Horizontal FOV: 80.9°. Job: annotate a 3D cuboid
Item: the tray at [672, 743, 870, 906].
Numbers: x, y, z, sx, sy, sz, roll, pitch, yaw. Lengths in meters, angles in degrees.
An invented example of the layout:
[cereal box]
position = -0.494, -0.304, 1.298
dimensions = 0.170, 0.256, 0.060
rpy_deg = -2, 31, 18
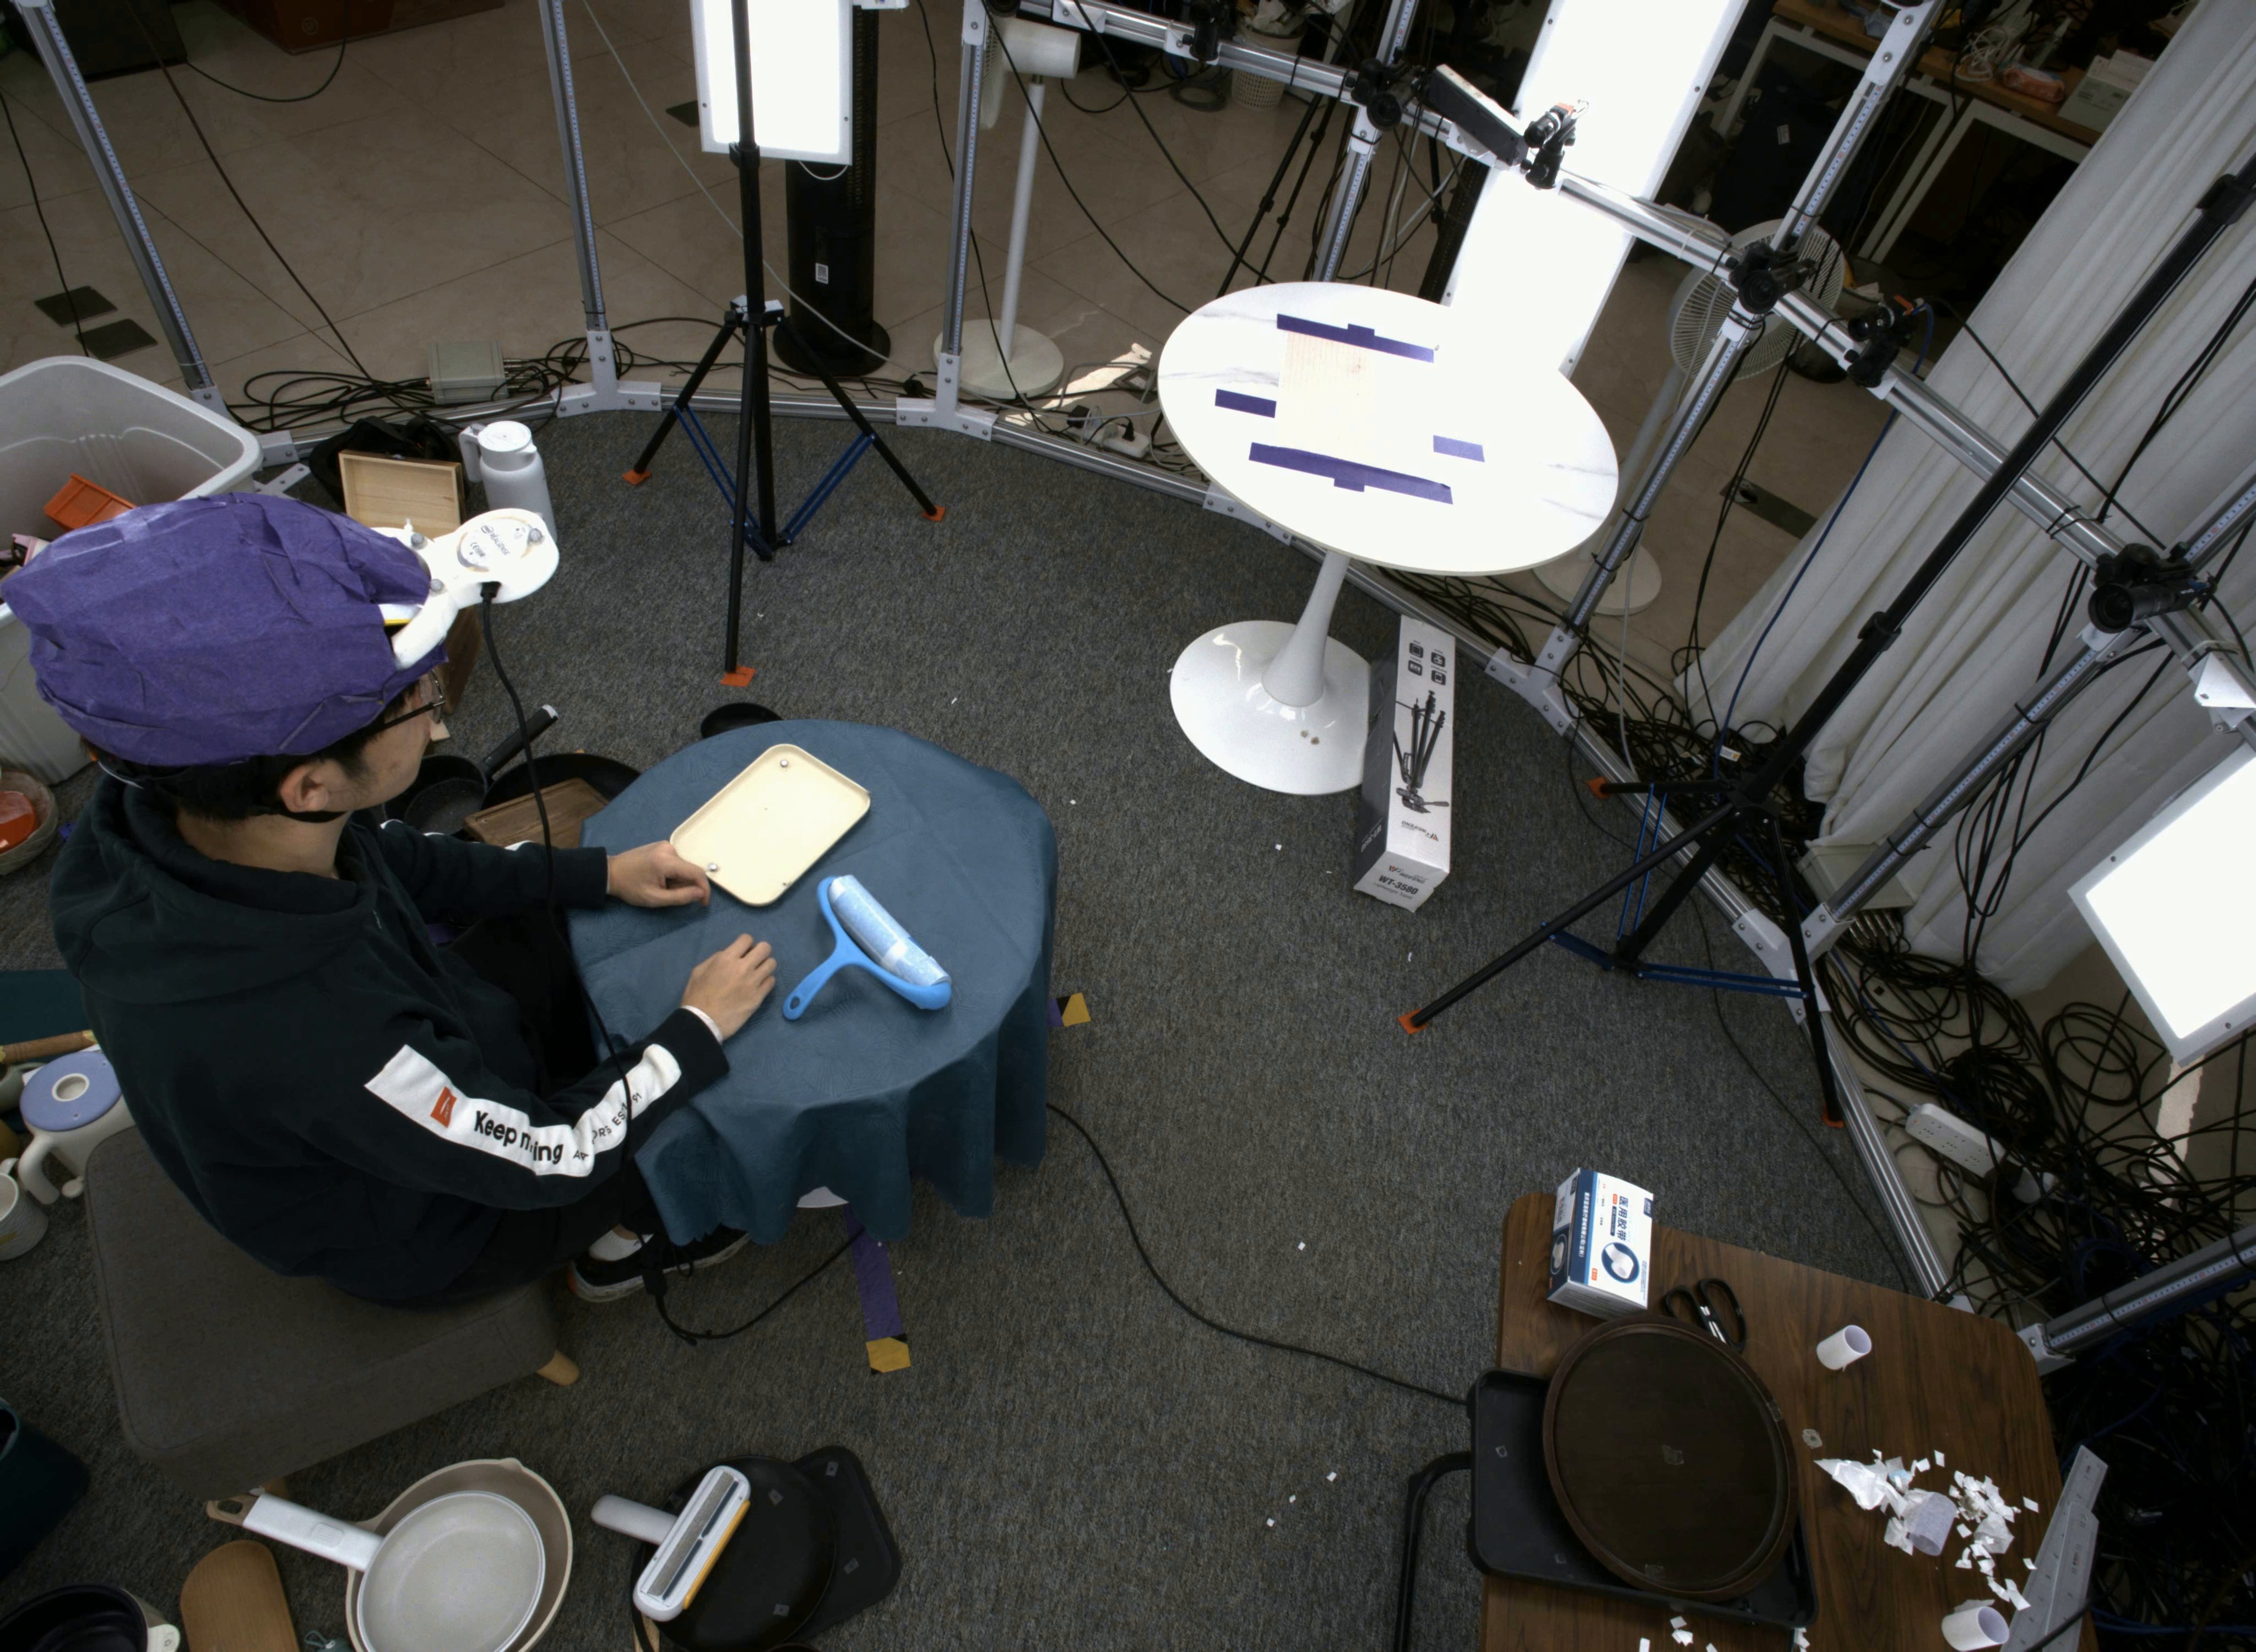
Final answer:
[tray]
position = -0.469, -0.005, 1.710
dimensions = 0.168, 0.018, 0.239
rpy_deg = 32, 53, 10

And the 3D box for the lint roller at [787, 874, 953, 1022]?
[lint roller]
position = -0.341, 0.169, 1.590
dimensions = 0.224, 0.069, 0.180
rpy_deg = 41, 54, 15
